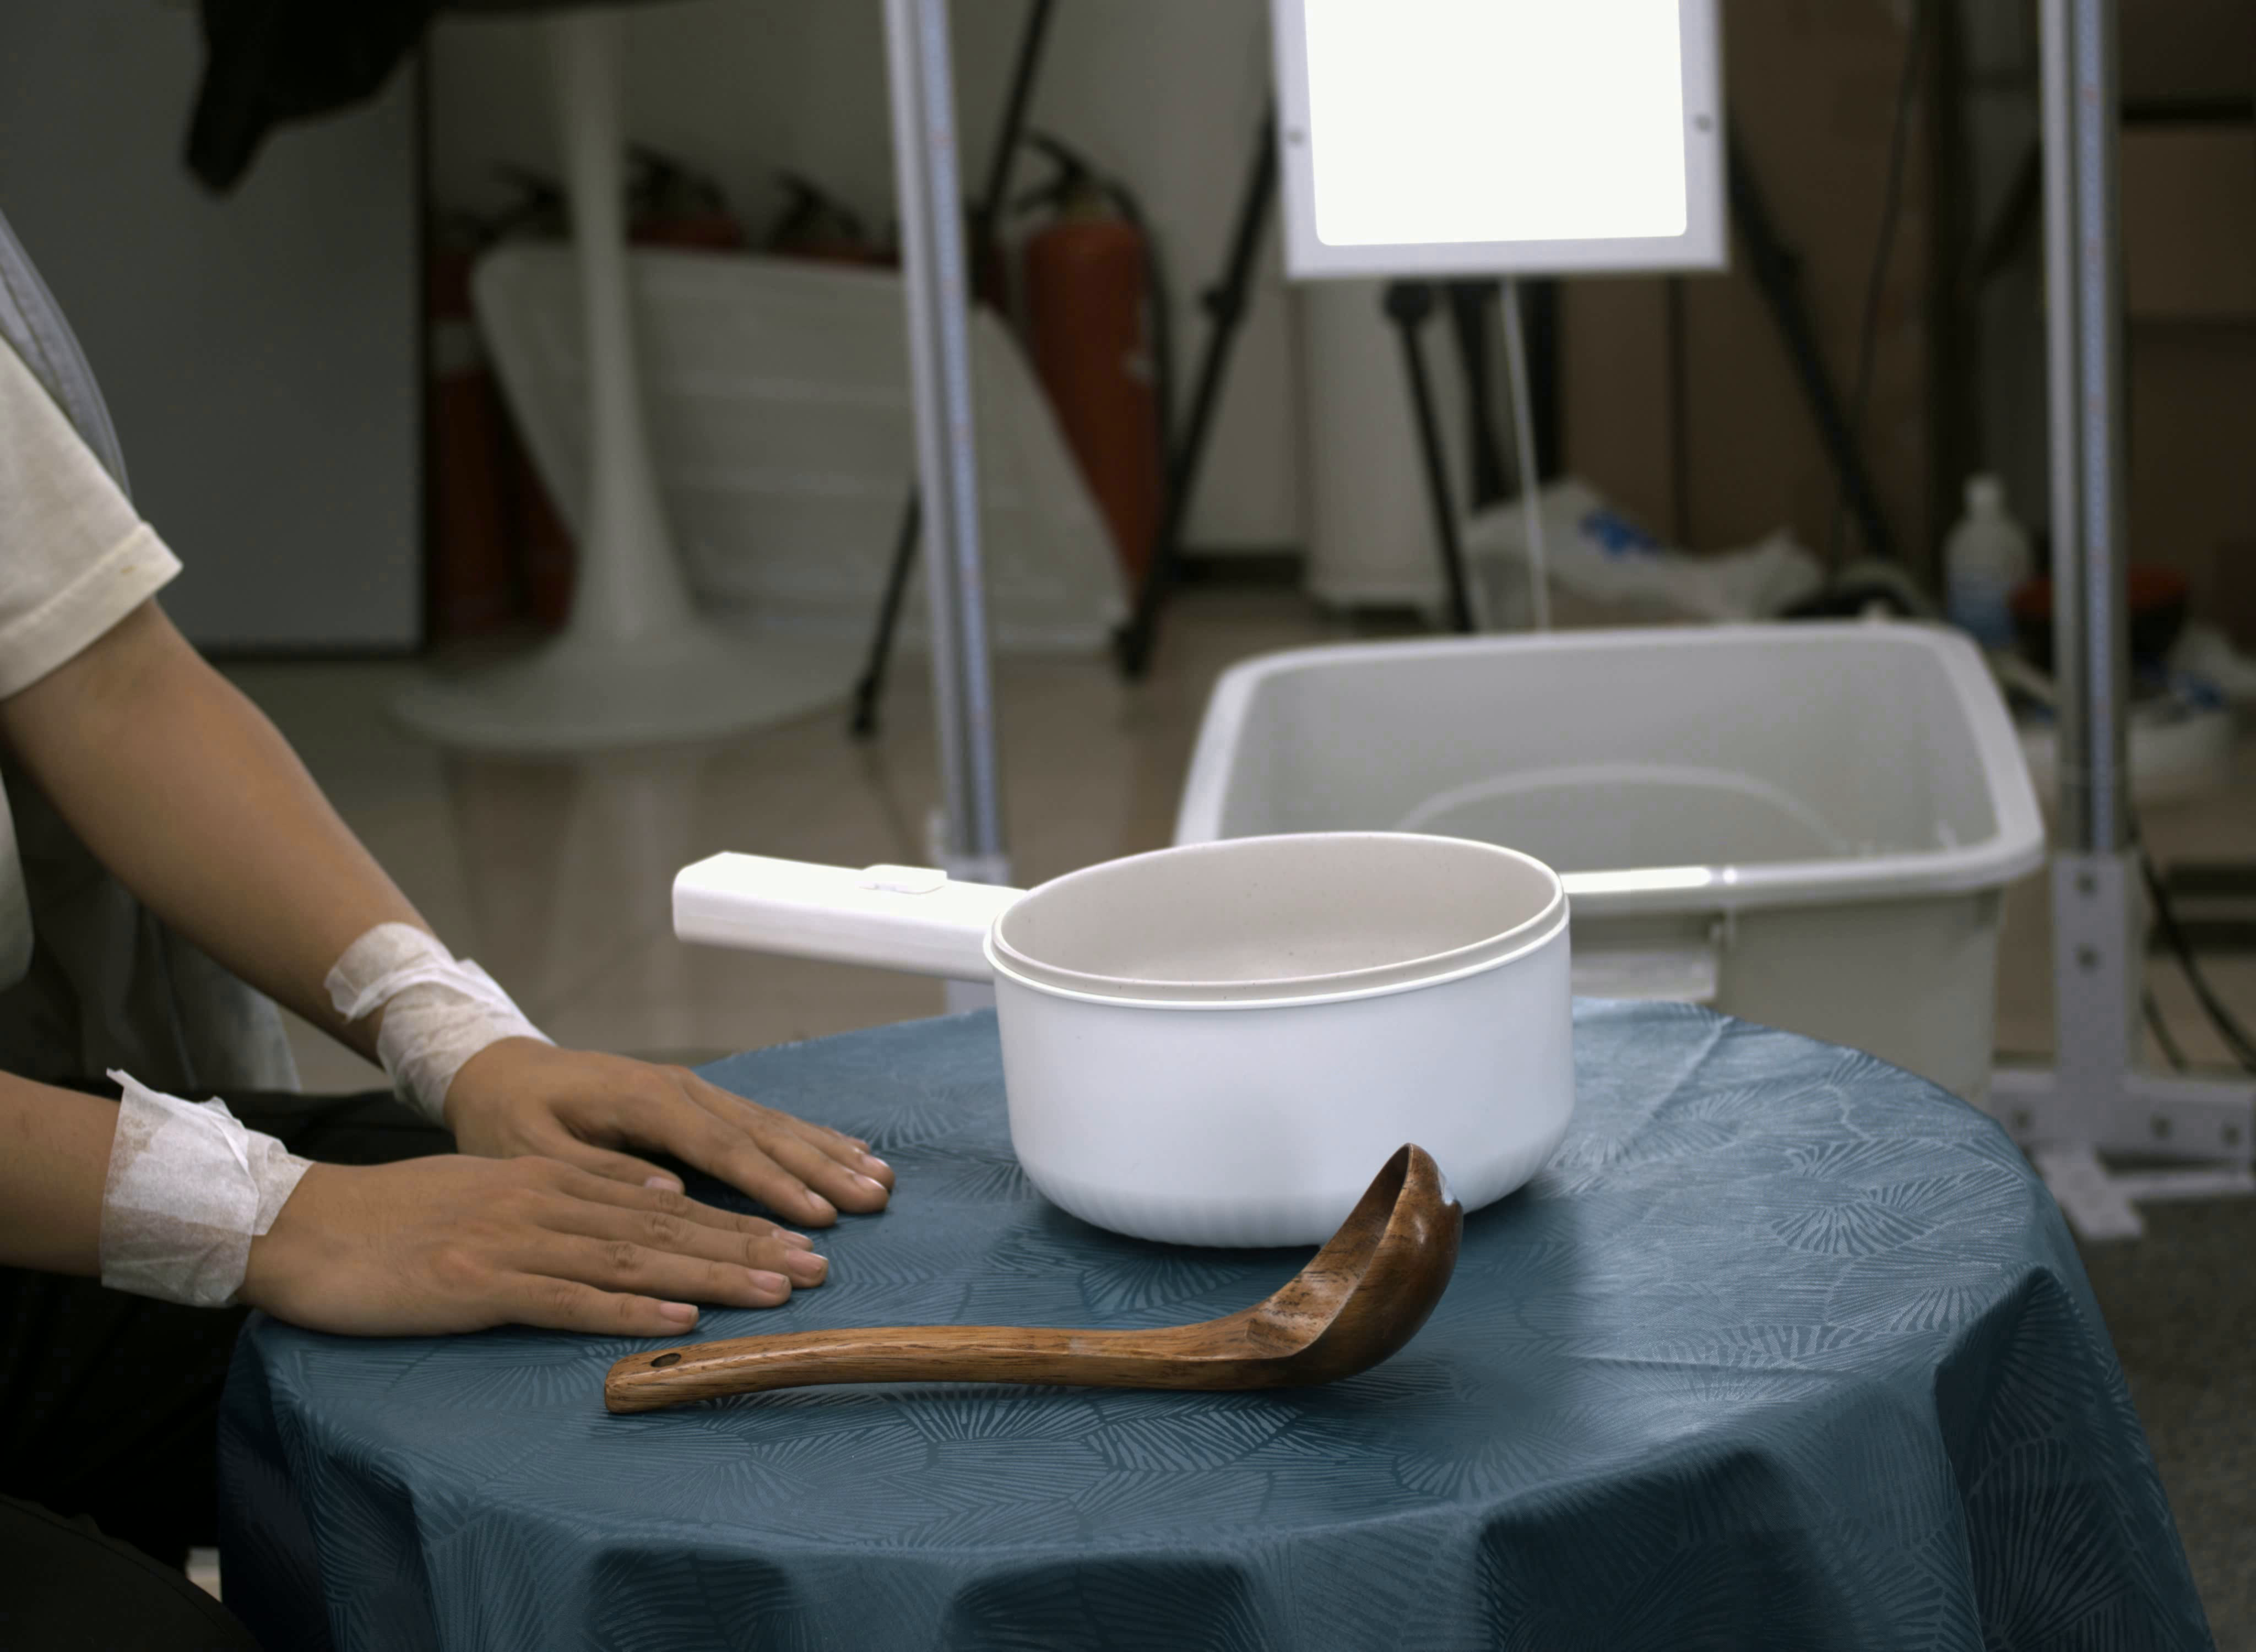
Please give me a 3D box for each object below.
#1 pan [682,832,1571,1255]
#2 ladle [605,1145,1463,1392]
[{"bbox_3d":[-0.009,0.070,1.923,0.362,0.102,0.196,5,17,37],"label":"pan"},{"bbox_3d":[-0.032,0.137,1.696,0.276,0.077,0.081,-1,15,13],"label":"ladle"}]
